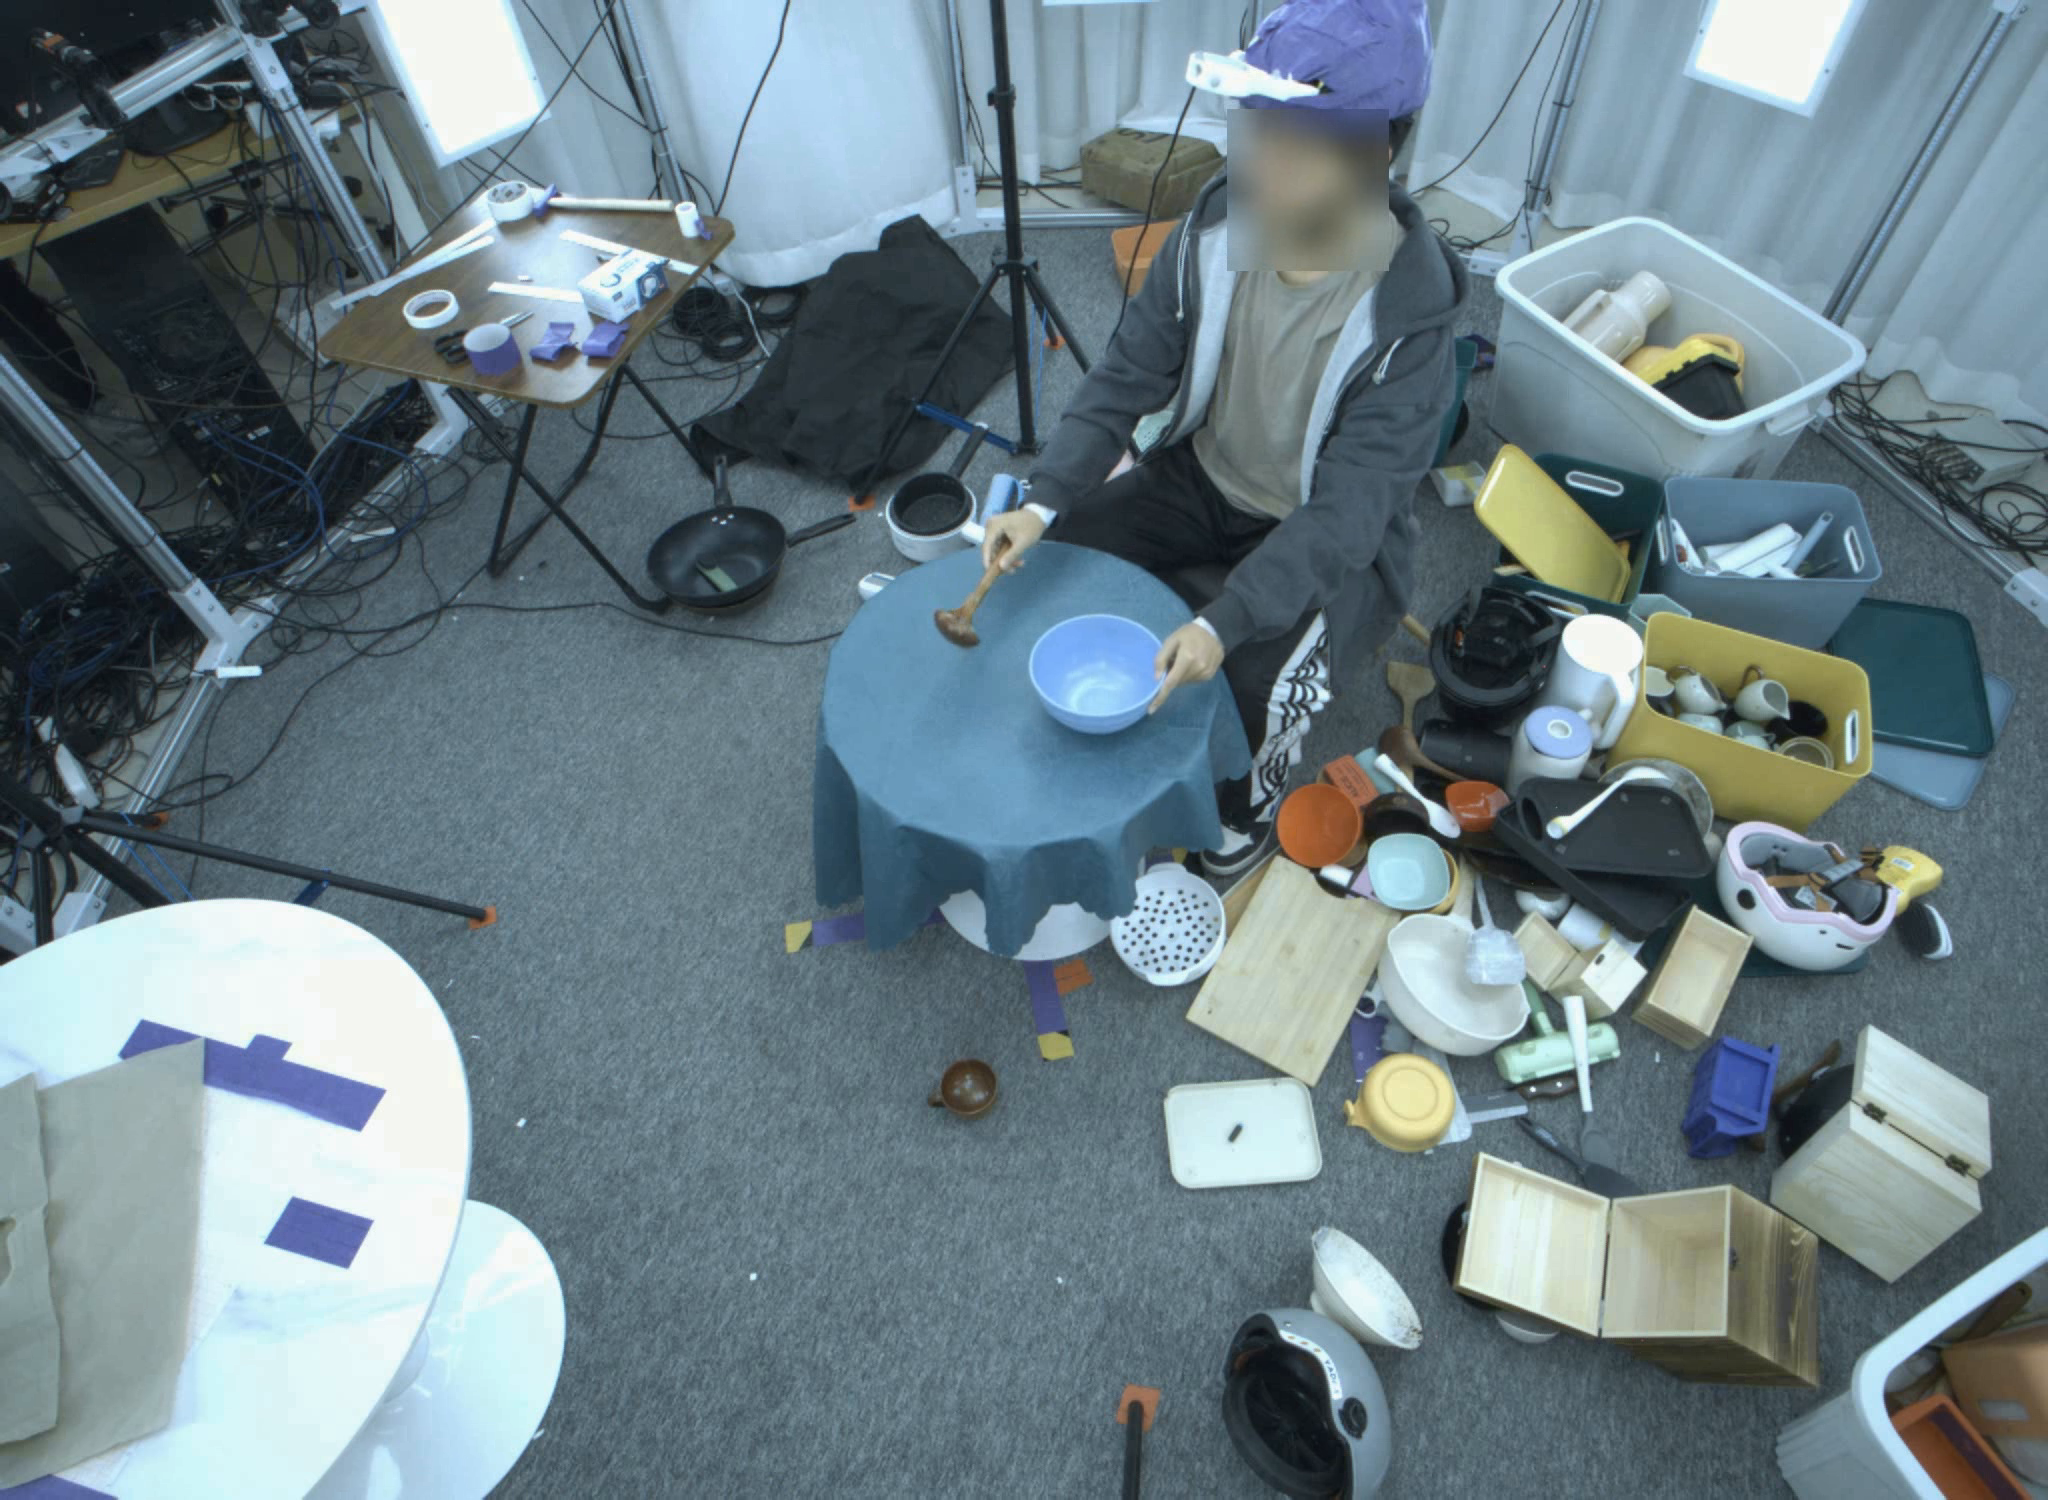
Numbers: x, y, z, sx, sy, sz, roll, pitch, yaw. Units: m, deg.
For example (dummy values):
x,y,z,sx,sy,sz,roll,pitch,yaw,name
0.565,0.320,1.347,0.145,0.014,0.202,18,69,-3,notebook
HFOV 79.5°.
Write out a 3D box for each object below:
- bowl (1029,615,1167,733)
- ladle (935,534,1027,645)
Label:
x,y,z,sx,sy,sz,roll,pitch,yaw,name
0.107,-0.095,1.788,0.196,0.096,0.194,-1,52,2,bowl
-0.051,-0.256,1.836,0.083,0.075,0.274,42,53,-13,ladle
